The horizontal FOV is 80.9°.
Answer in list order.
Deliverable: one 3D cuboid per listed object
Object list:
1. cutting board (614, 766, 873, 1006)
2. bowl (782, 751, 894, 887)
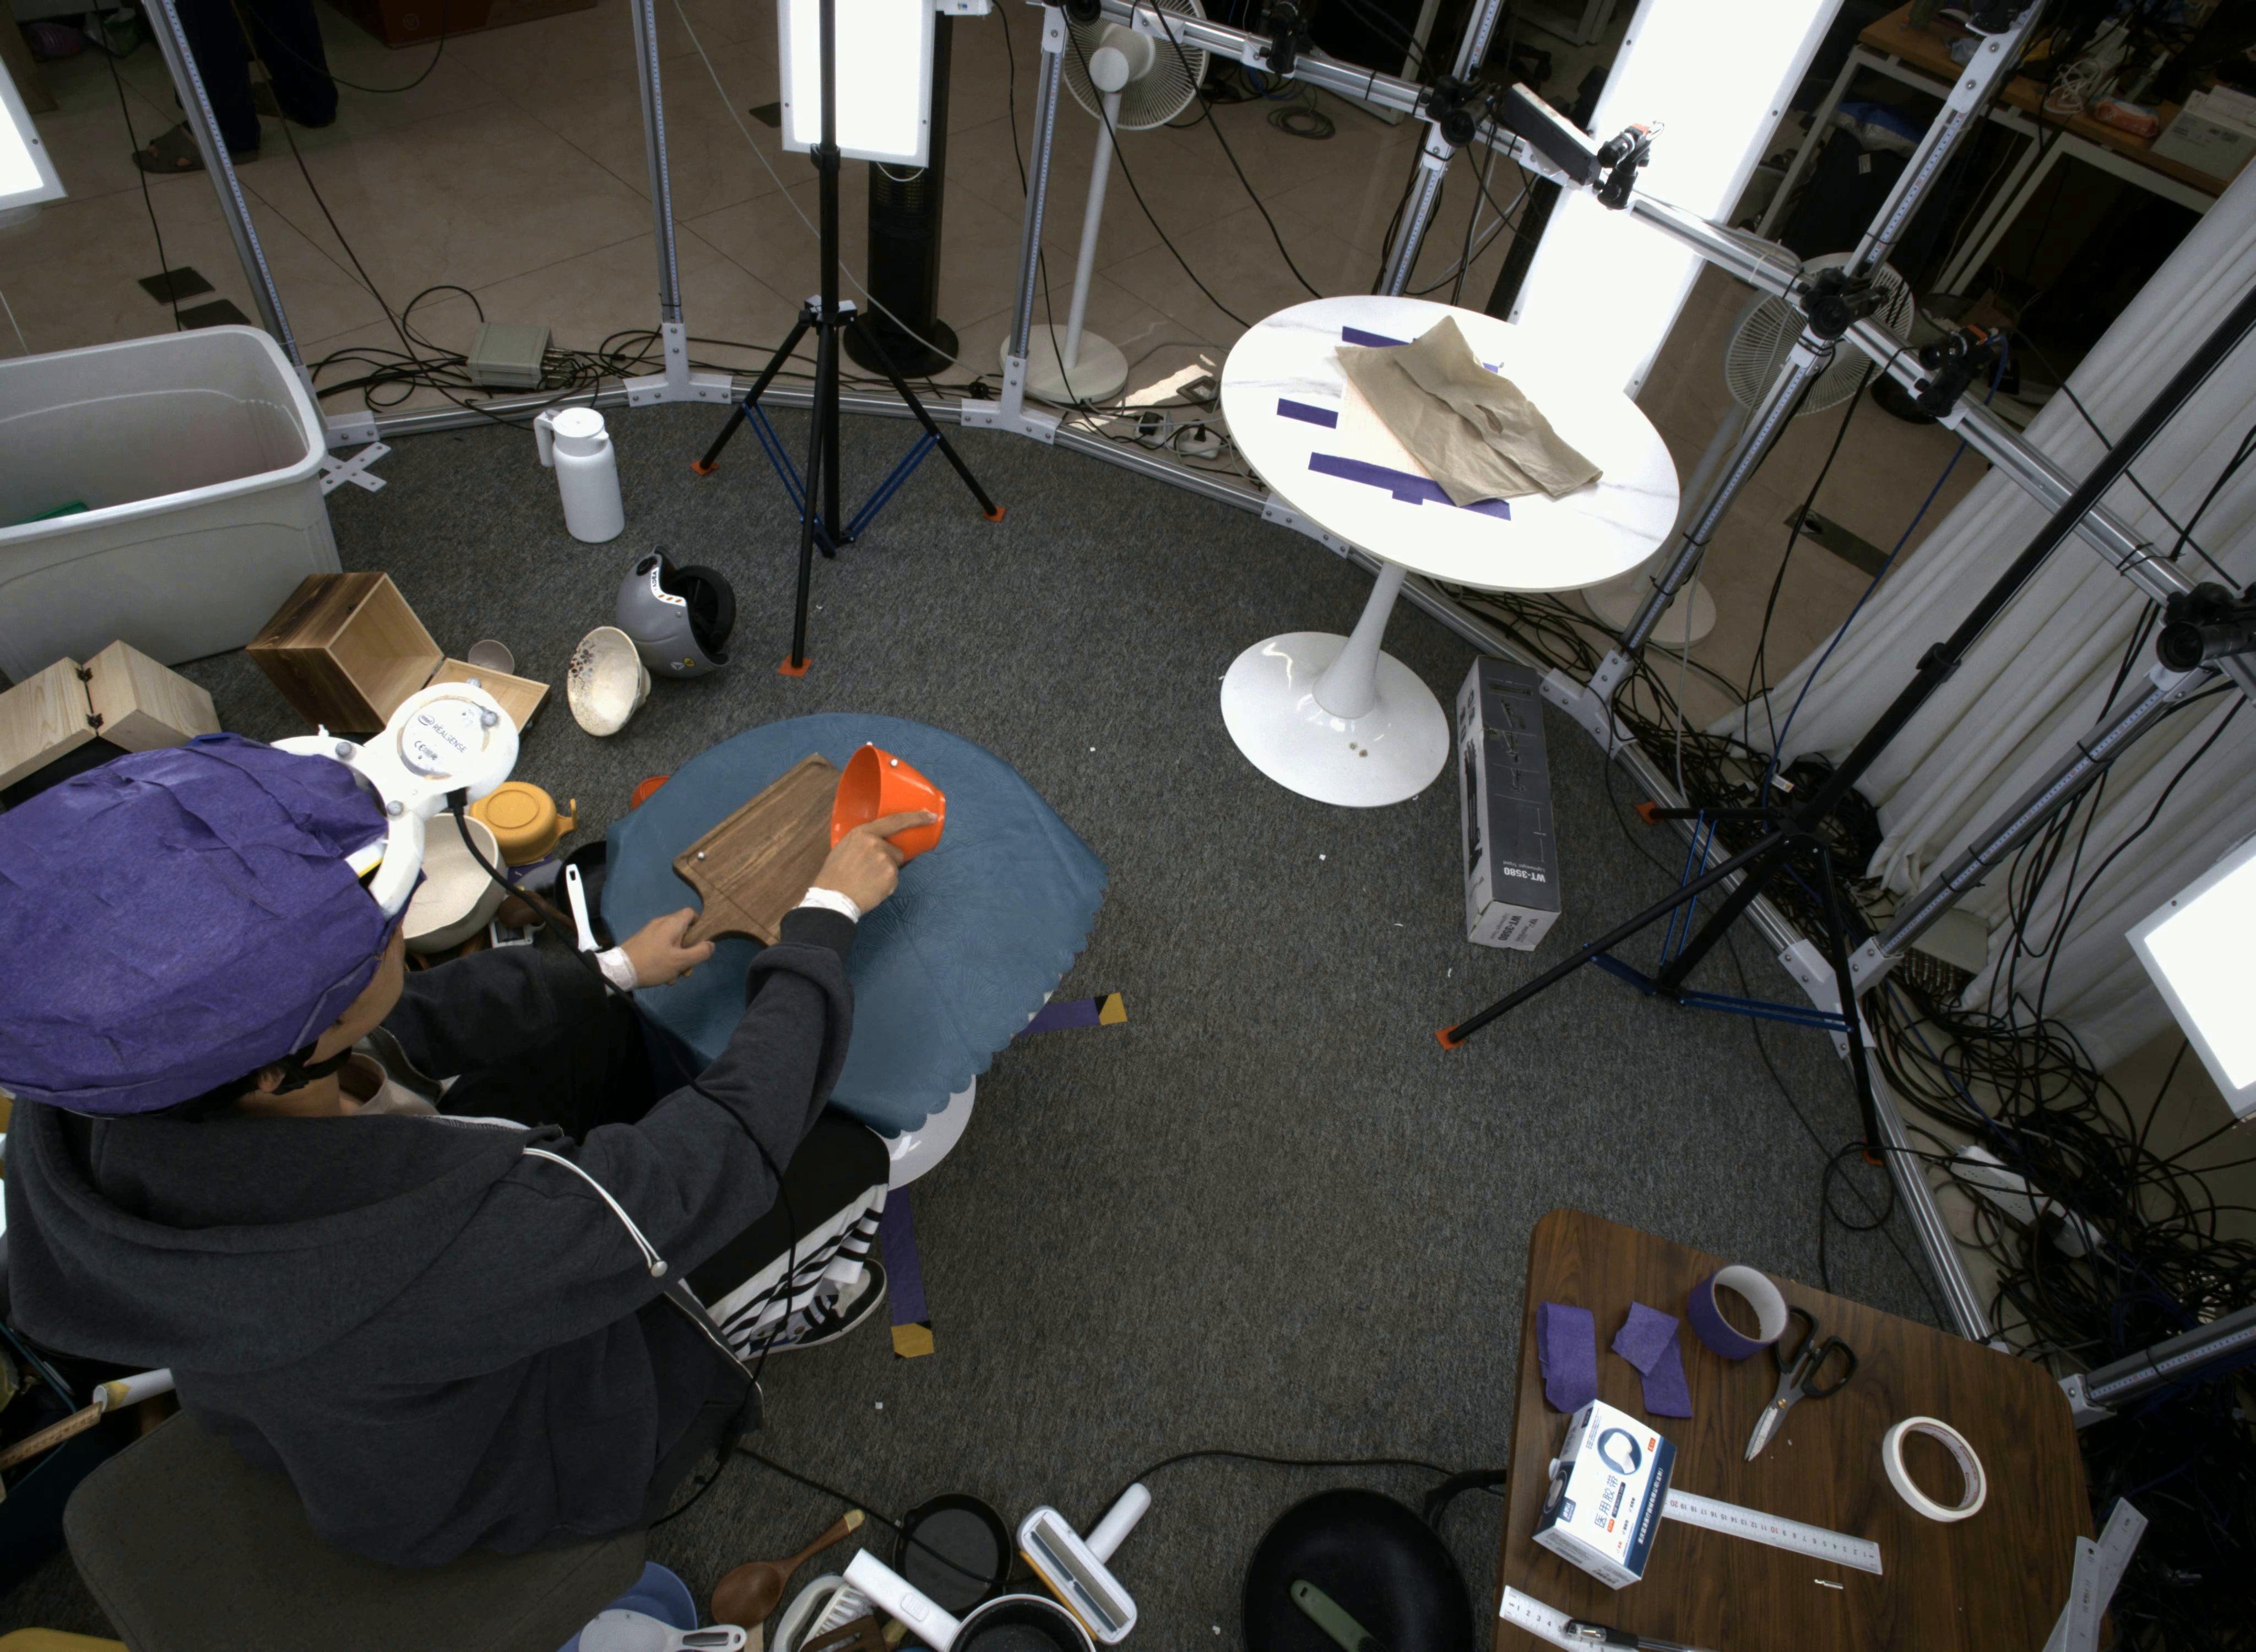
[{"bbox_3d":[-0.482,0.082,1.537,0.198,0.023,0.351,35,53,7],"label":"cutting board"},{"bbox_3d":[-0.318,-0.003,1.434,0.106,0.149,0.144,7,50,-24],"label":"bowl"}]
